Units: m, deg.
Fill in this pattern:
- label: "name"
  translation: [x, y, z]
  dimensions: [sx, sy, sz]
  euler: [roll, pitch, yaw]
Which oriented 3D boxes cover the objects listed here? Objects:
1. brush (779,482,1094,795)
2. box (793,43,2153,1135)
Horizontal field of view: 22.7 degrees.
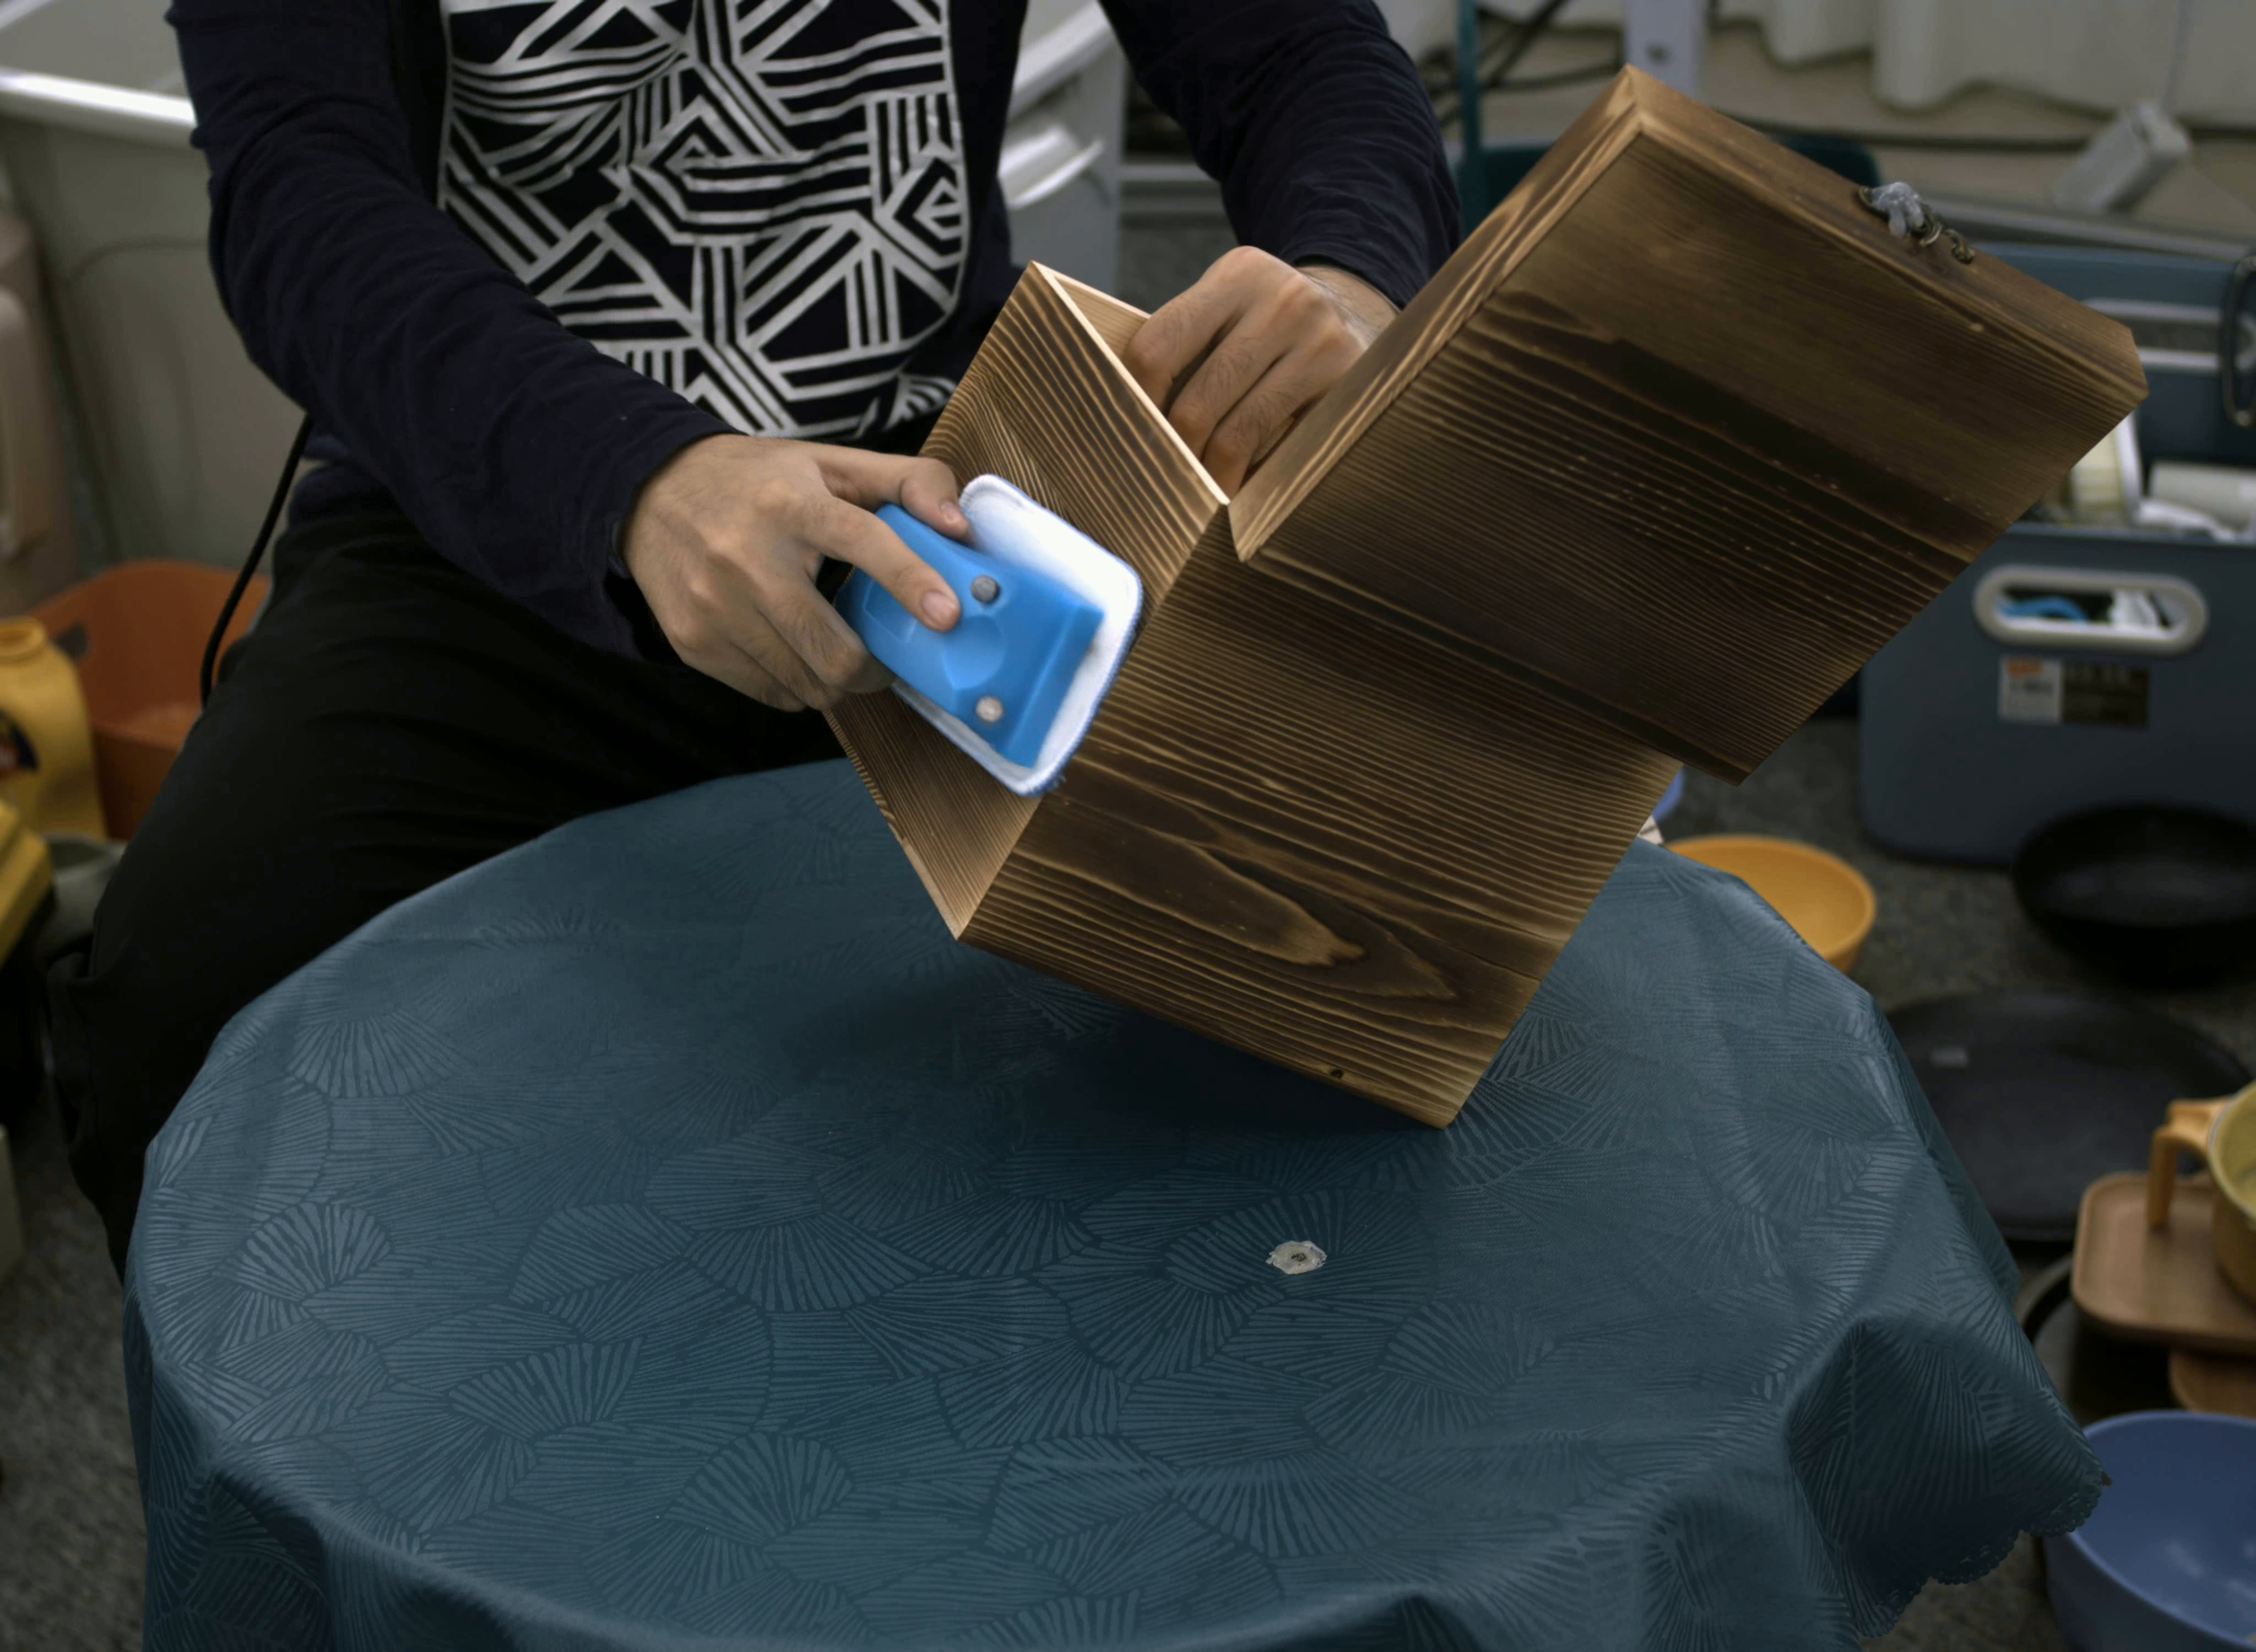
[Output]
- label: "brush"
  translation: [-0.069, -0.066, 1.812]
  dimensions: [0.055, 0.084, 0.144]
  euler: [27, 3, -33]
- label: "box"
  translation: [0.102, -0.101, 1.839]
  dimensions: [0.208, 0.373, 0.325]
  euler: [23, 16, -29]
